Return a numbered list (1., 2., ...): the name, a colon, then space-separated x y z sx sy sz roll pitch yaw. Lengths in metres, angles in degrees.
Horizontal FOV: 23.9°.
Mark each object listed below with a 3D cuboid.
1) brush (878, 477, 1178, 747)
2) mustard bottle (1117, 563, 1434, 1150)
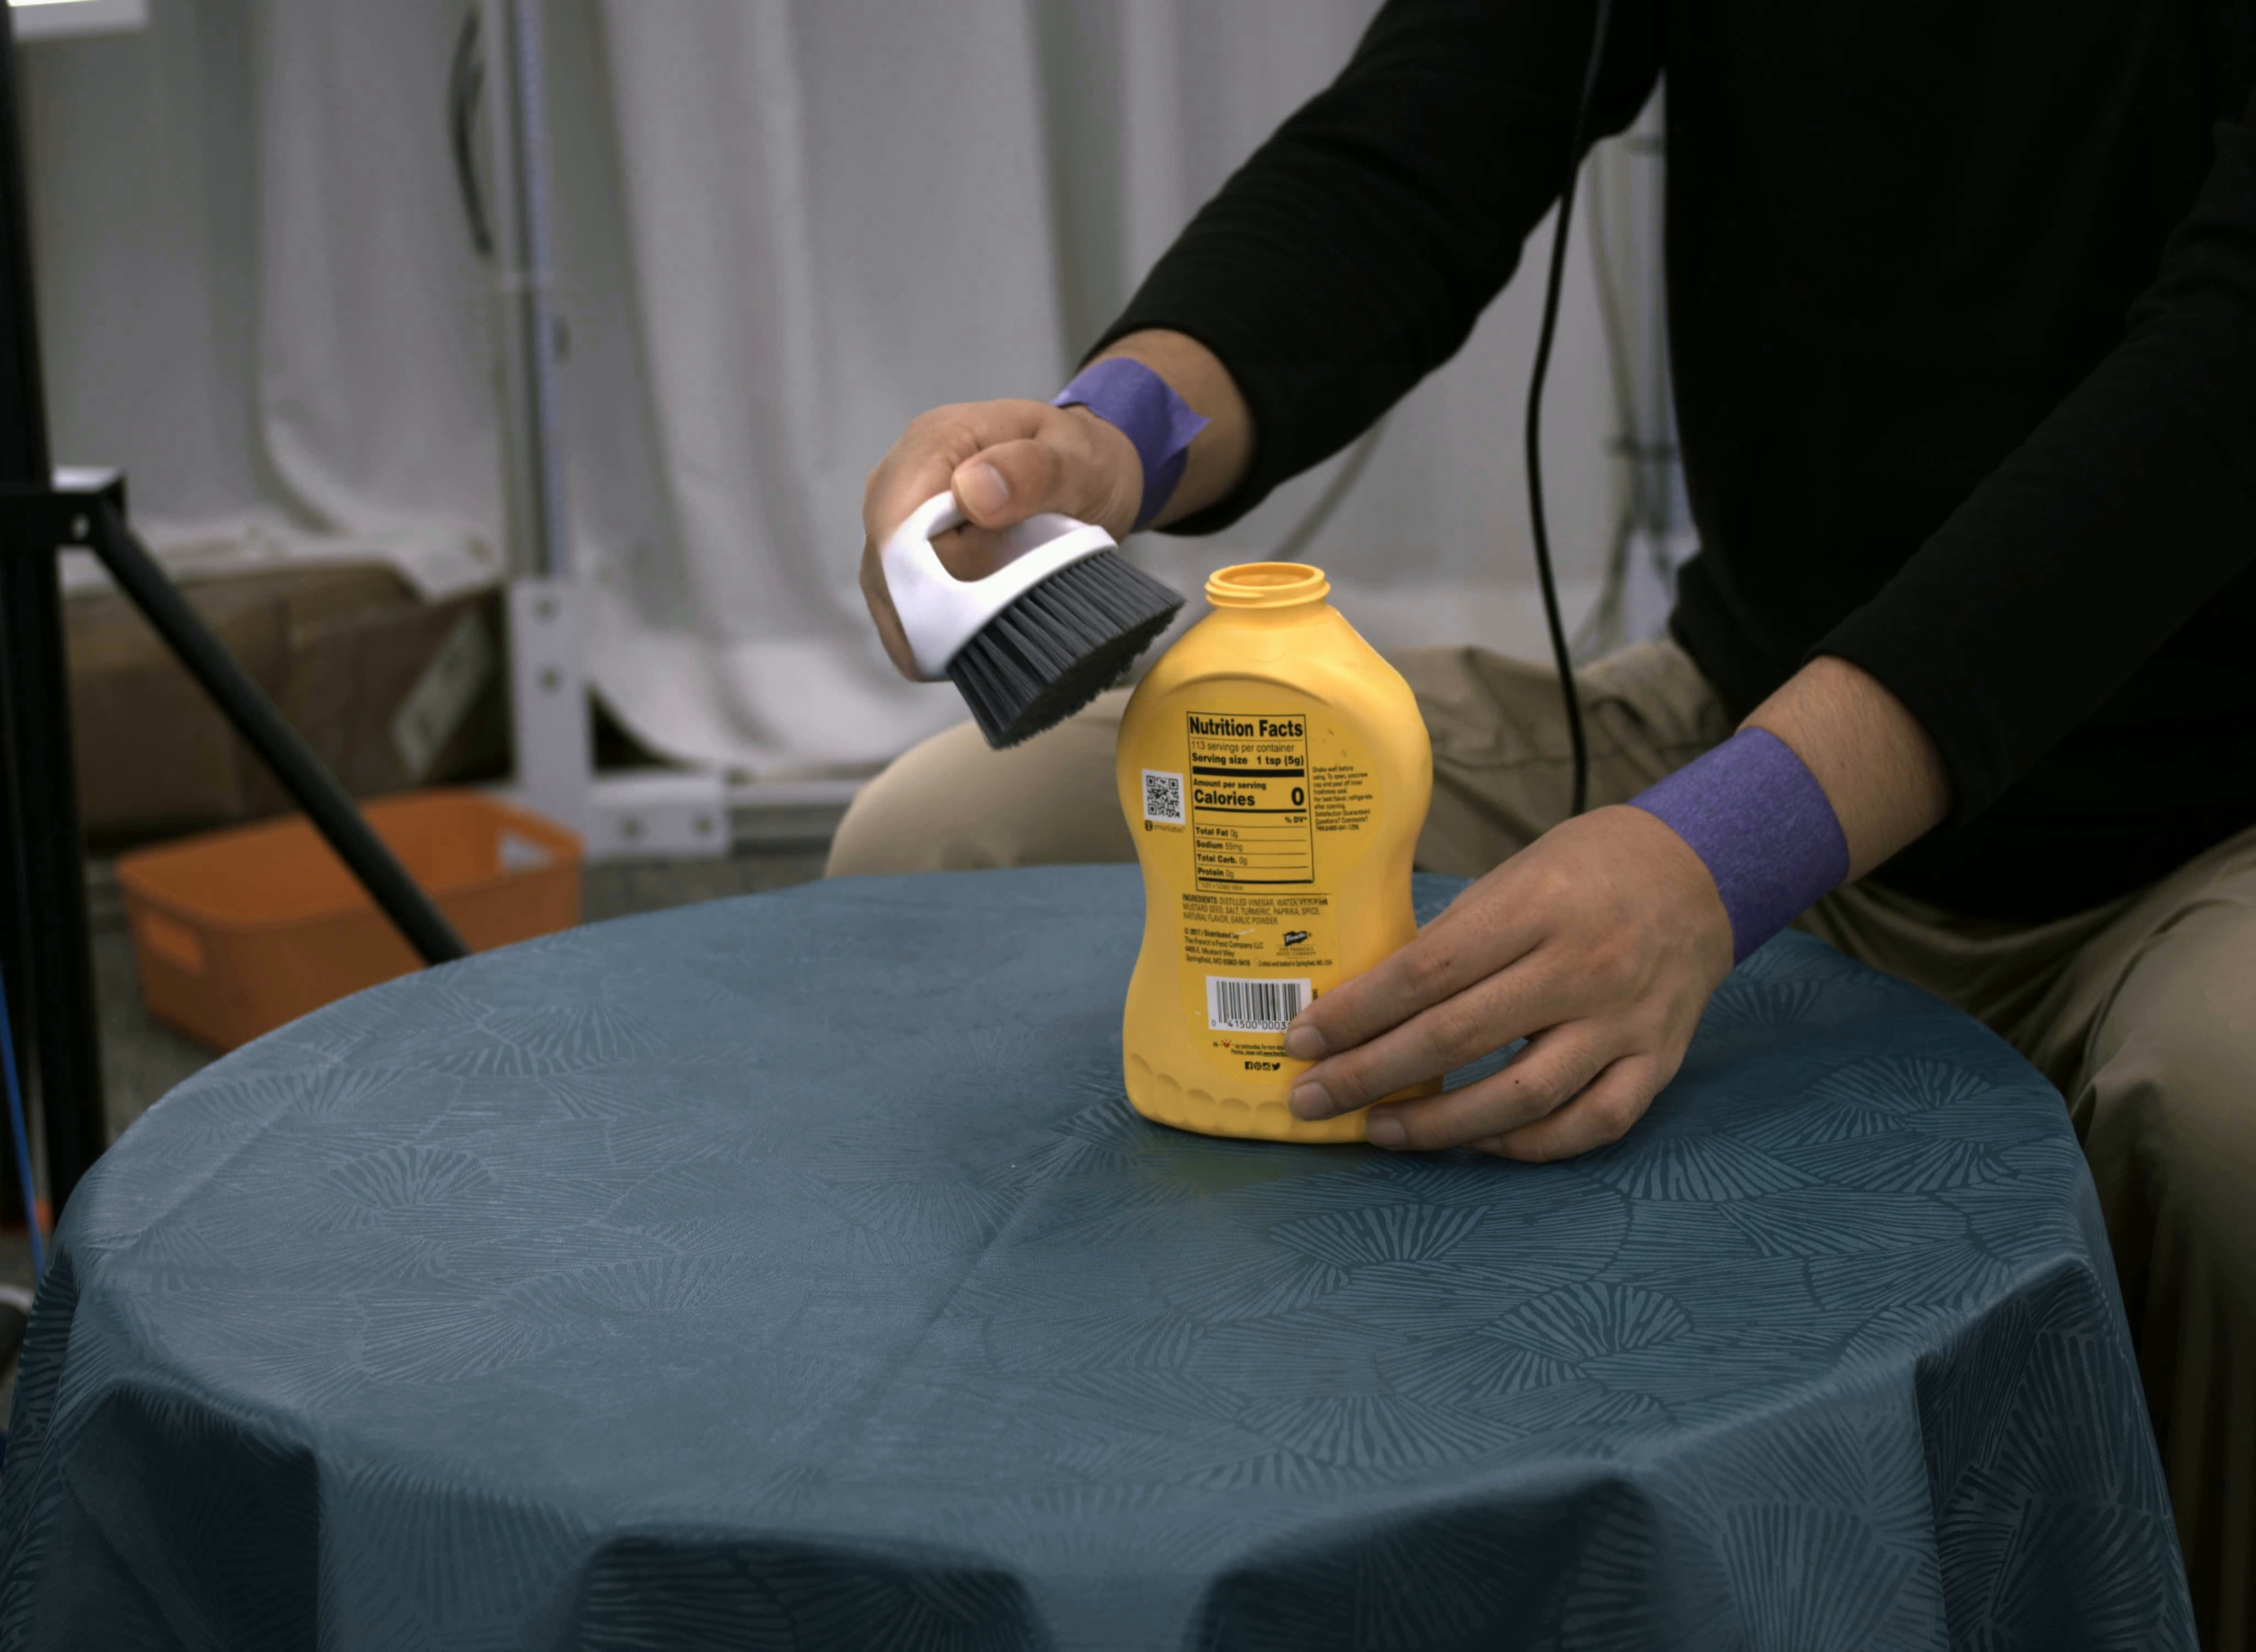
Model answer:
1. brush: -0.037 -0.072 1.601 0.073 0.051 0.097 47 31 8
2. mustard bottle: 0.043 0.008 1.597 0.099 0.172 0.058 2 13 20
